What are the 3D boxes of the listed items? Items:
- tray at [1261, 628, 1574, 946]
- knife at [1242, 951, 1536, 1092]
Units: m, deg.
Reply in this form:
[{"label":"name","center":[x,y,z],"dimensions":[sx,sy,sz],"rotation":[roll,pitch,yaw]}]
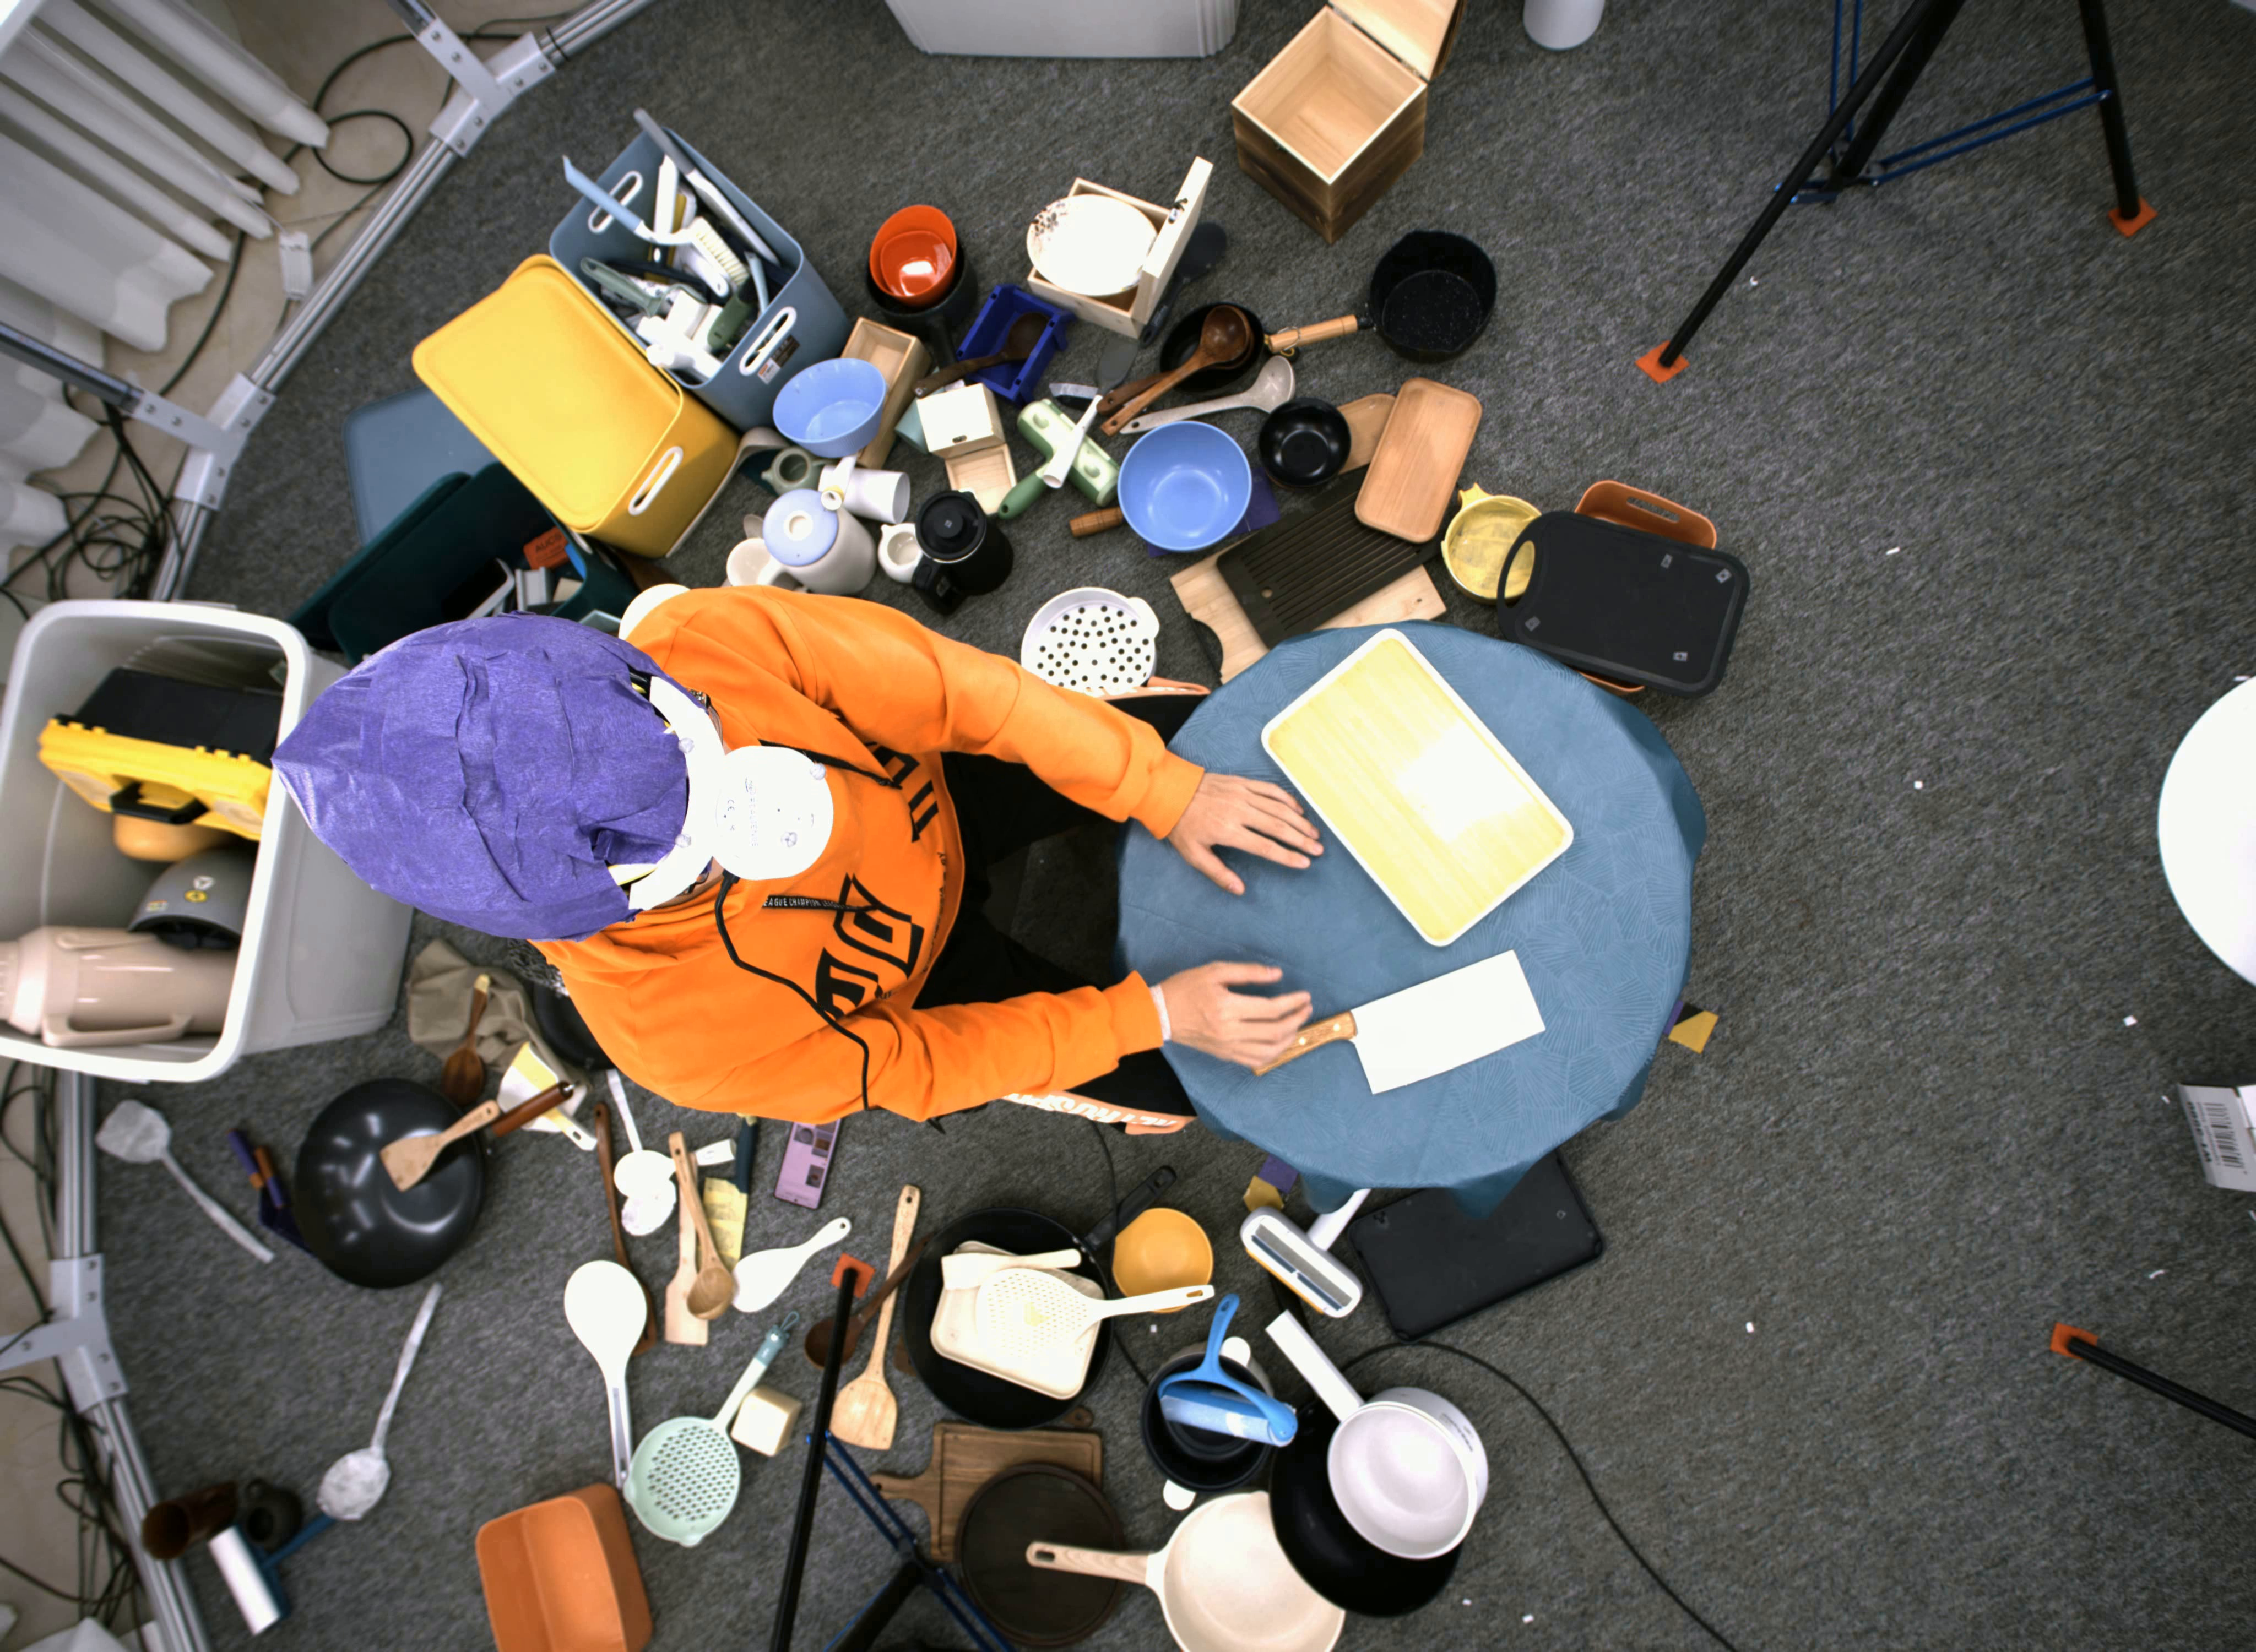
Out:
[{"label":"tray","center":[0.301,-0.043,1.446],"dimensions":[0.192,0.027,0.299],"rotation":[-40,81,6]},{"label":"knife","center":[0.274,0.221,1.443],"dimensions":[0.307,0.021,0.092],"rotation":[-21,85,6]}]
